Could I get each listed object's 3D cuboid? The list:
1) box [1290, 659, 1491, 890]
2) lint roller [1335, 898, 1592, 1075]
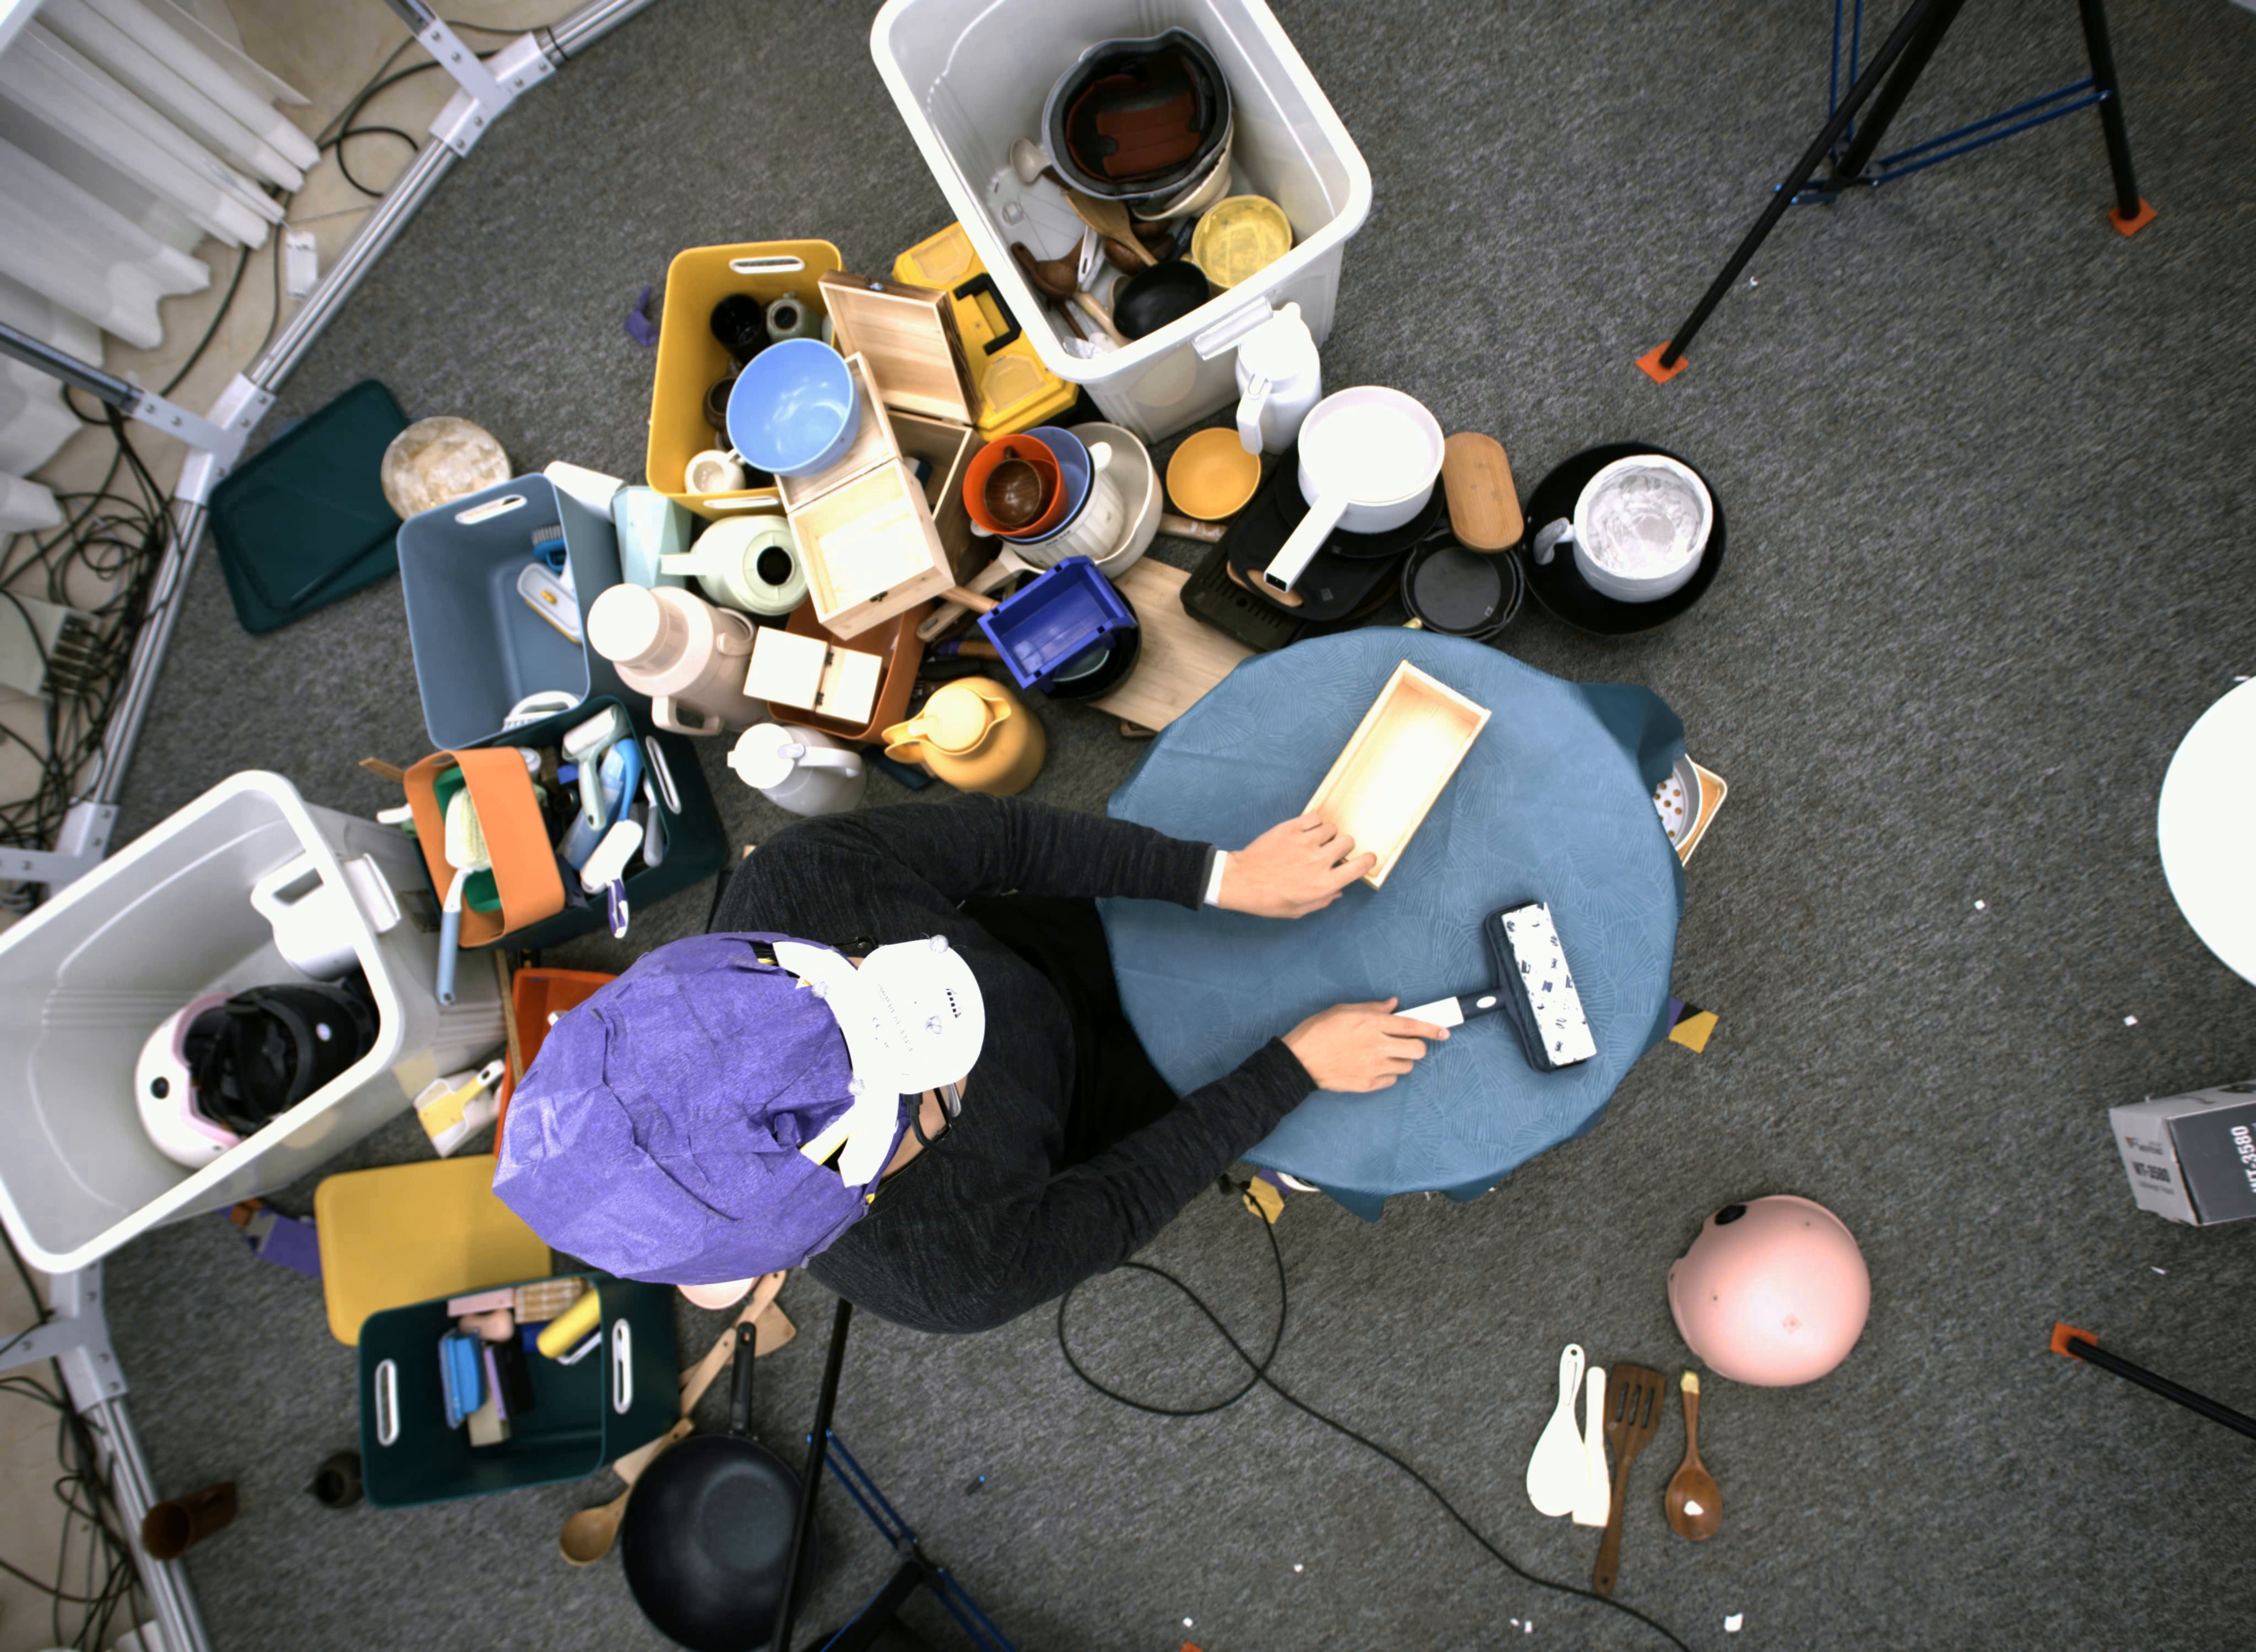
[{"bbox_3d":[0.272,-0.052,1.426,0.107,0.080,0.212,33,93,11],"label":"box"},{"bbox_3d":[0.333,0.191,1.419,0.248,0.050,0.175,-19,84,10],"label":"lint roller"}]
